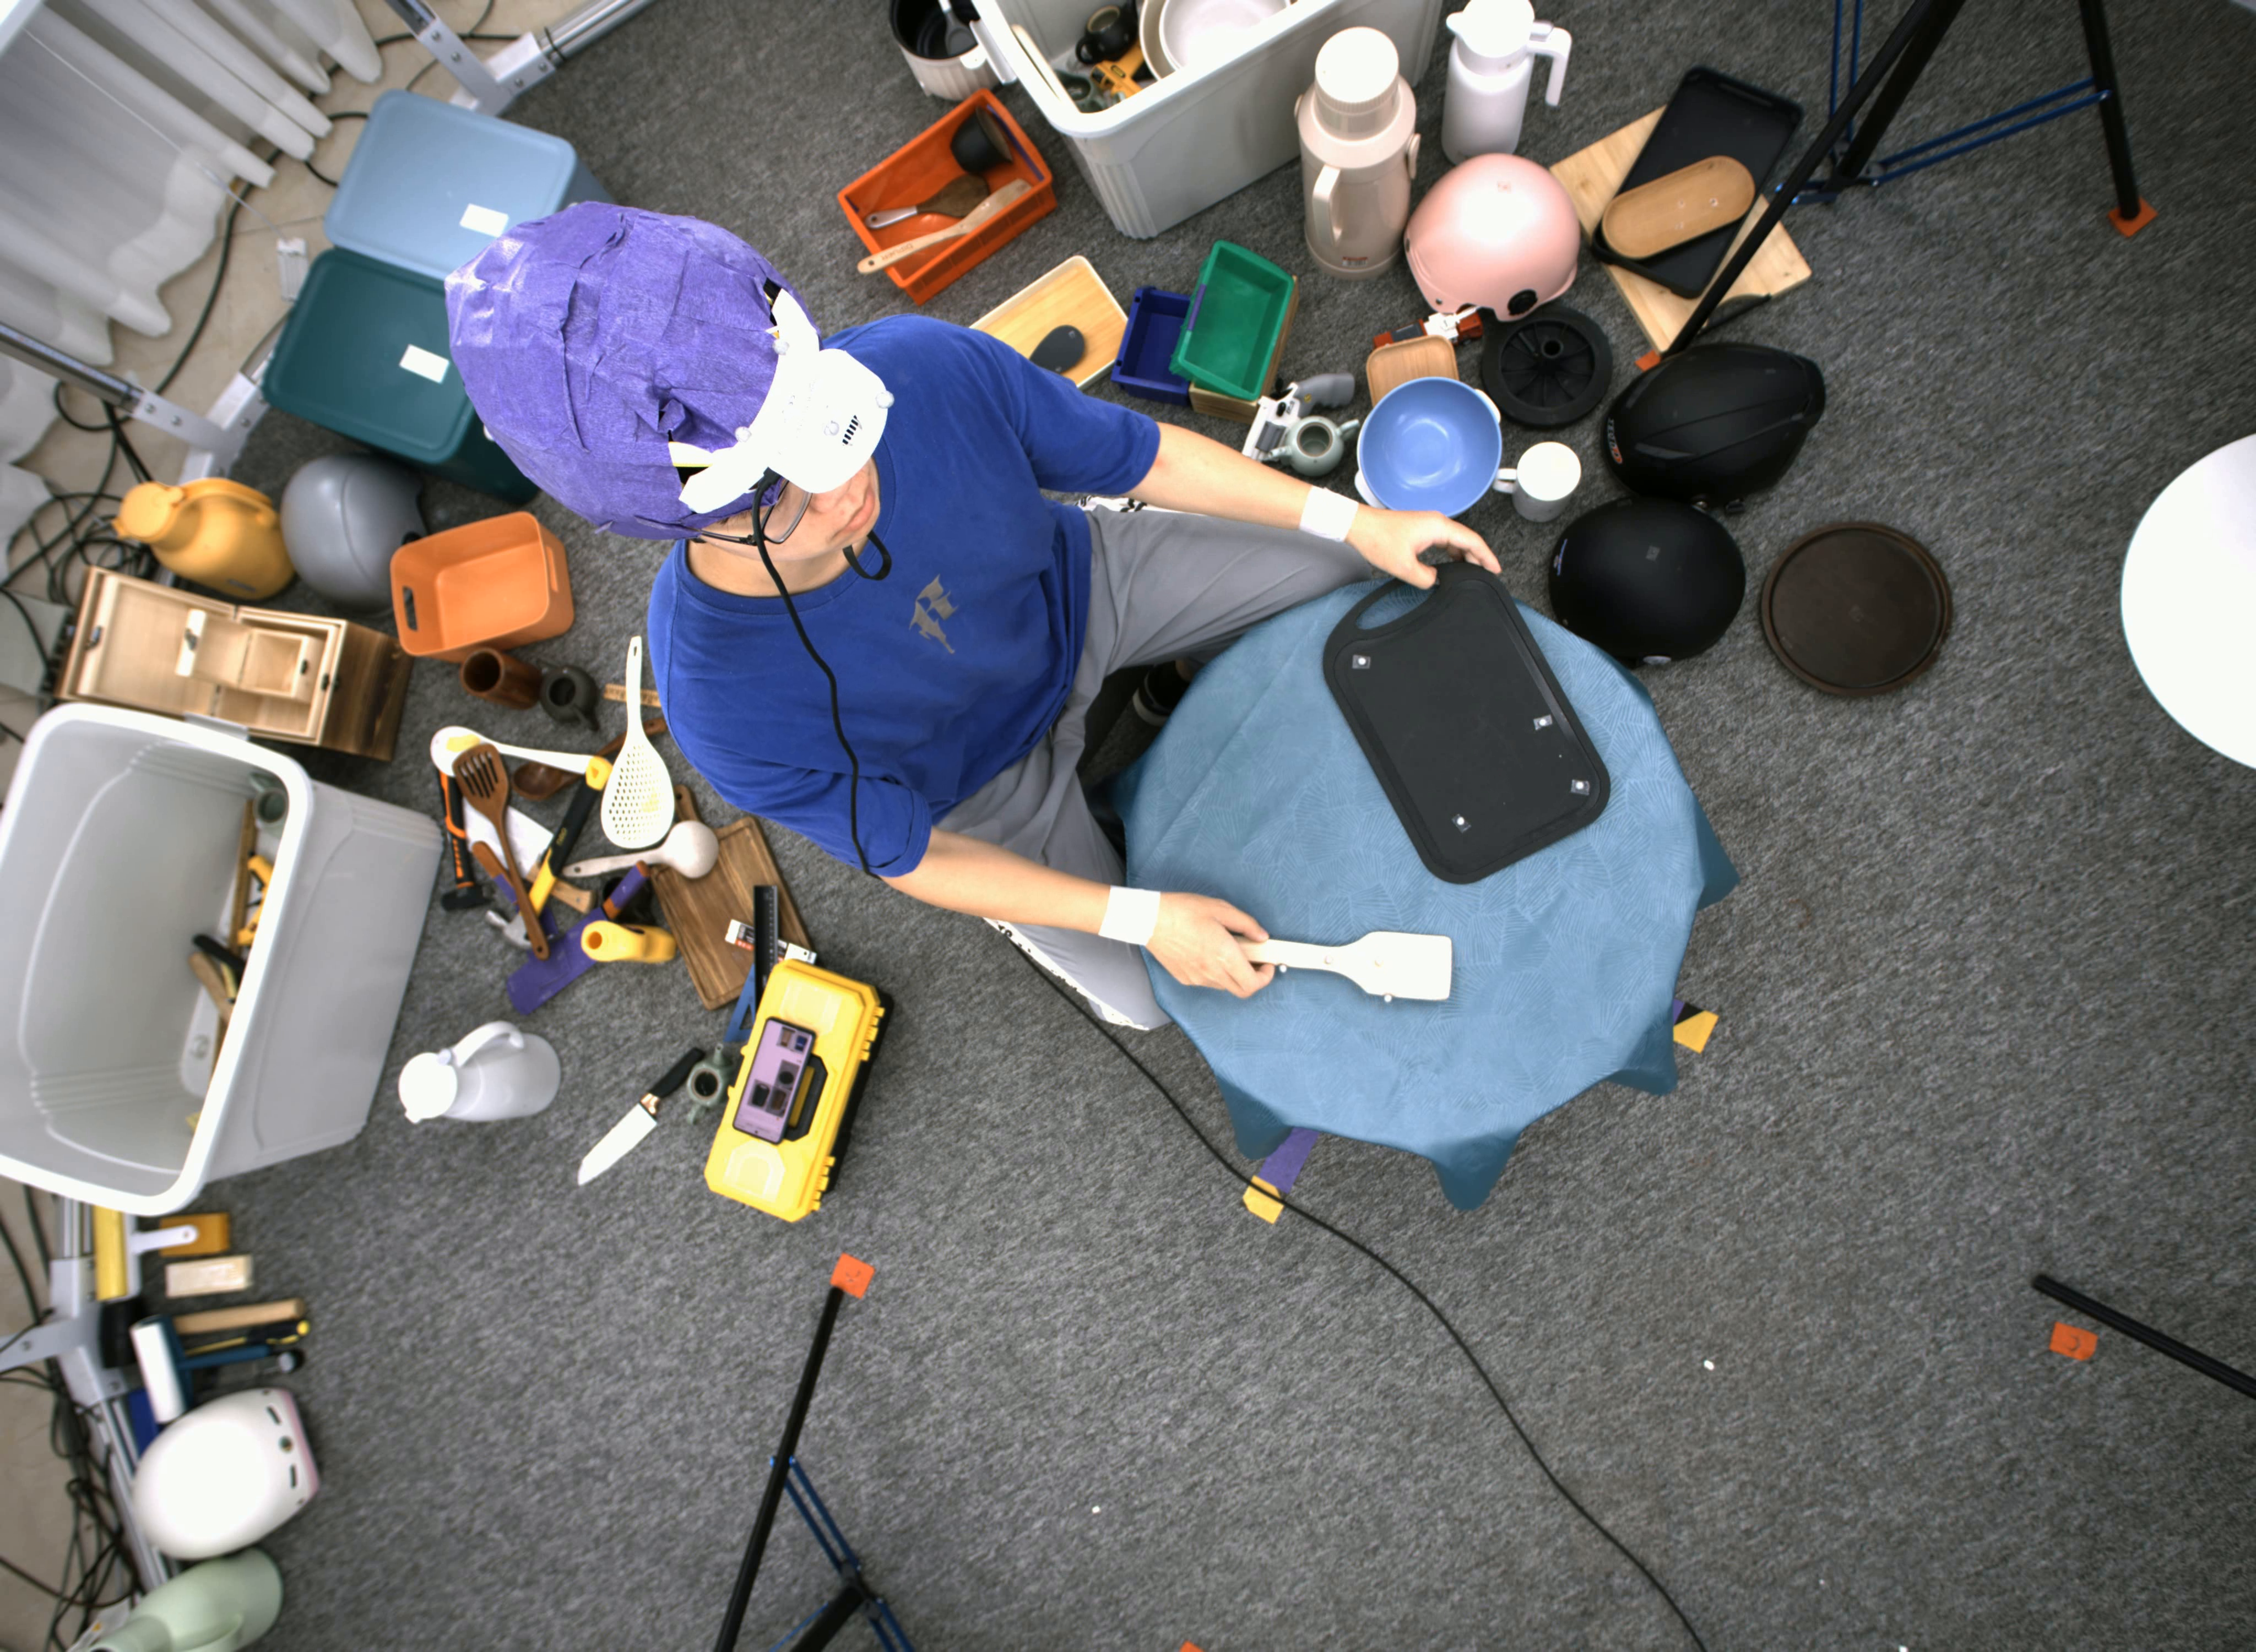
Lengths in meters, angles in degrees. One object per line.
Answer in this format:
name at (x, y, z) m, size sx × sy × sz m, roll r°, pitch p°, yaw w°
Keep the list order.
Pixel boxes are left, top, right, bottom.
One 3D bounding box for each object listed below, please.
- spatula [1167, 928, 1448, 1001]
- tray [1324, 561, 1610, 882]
spatula at (0.186, 0.135, 1.449) m, size 0.294 × 0.011 × 0.071 m, roll 5°, pitch 69°, yaw 7°
tray at (0.348, -0.118, 1.438) m, size 0.213 × 0.010 × 0.324 m, roll -27°, pitch 85°, yaw 13°
